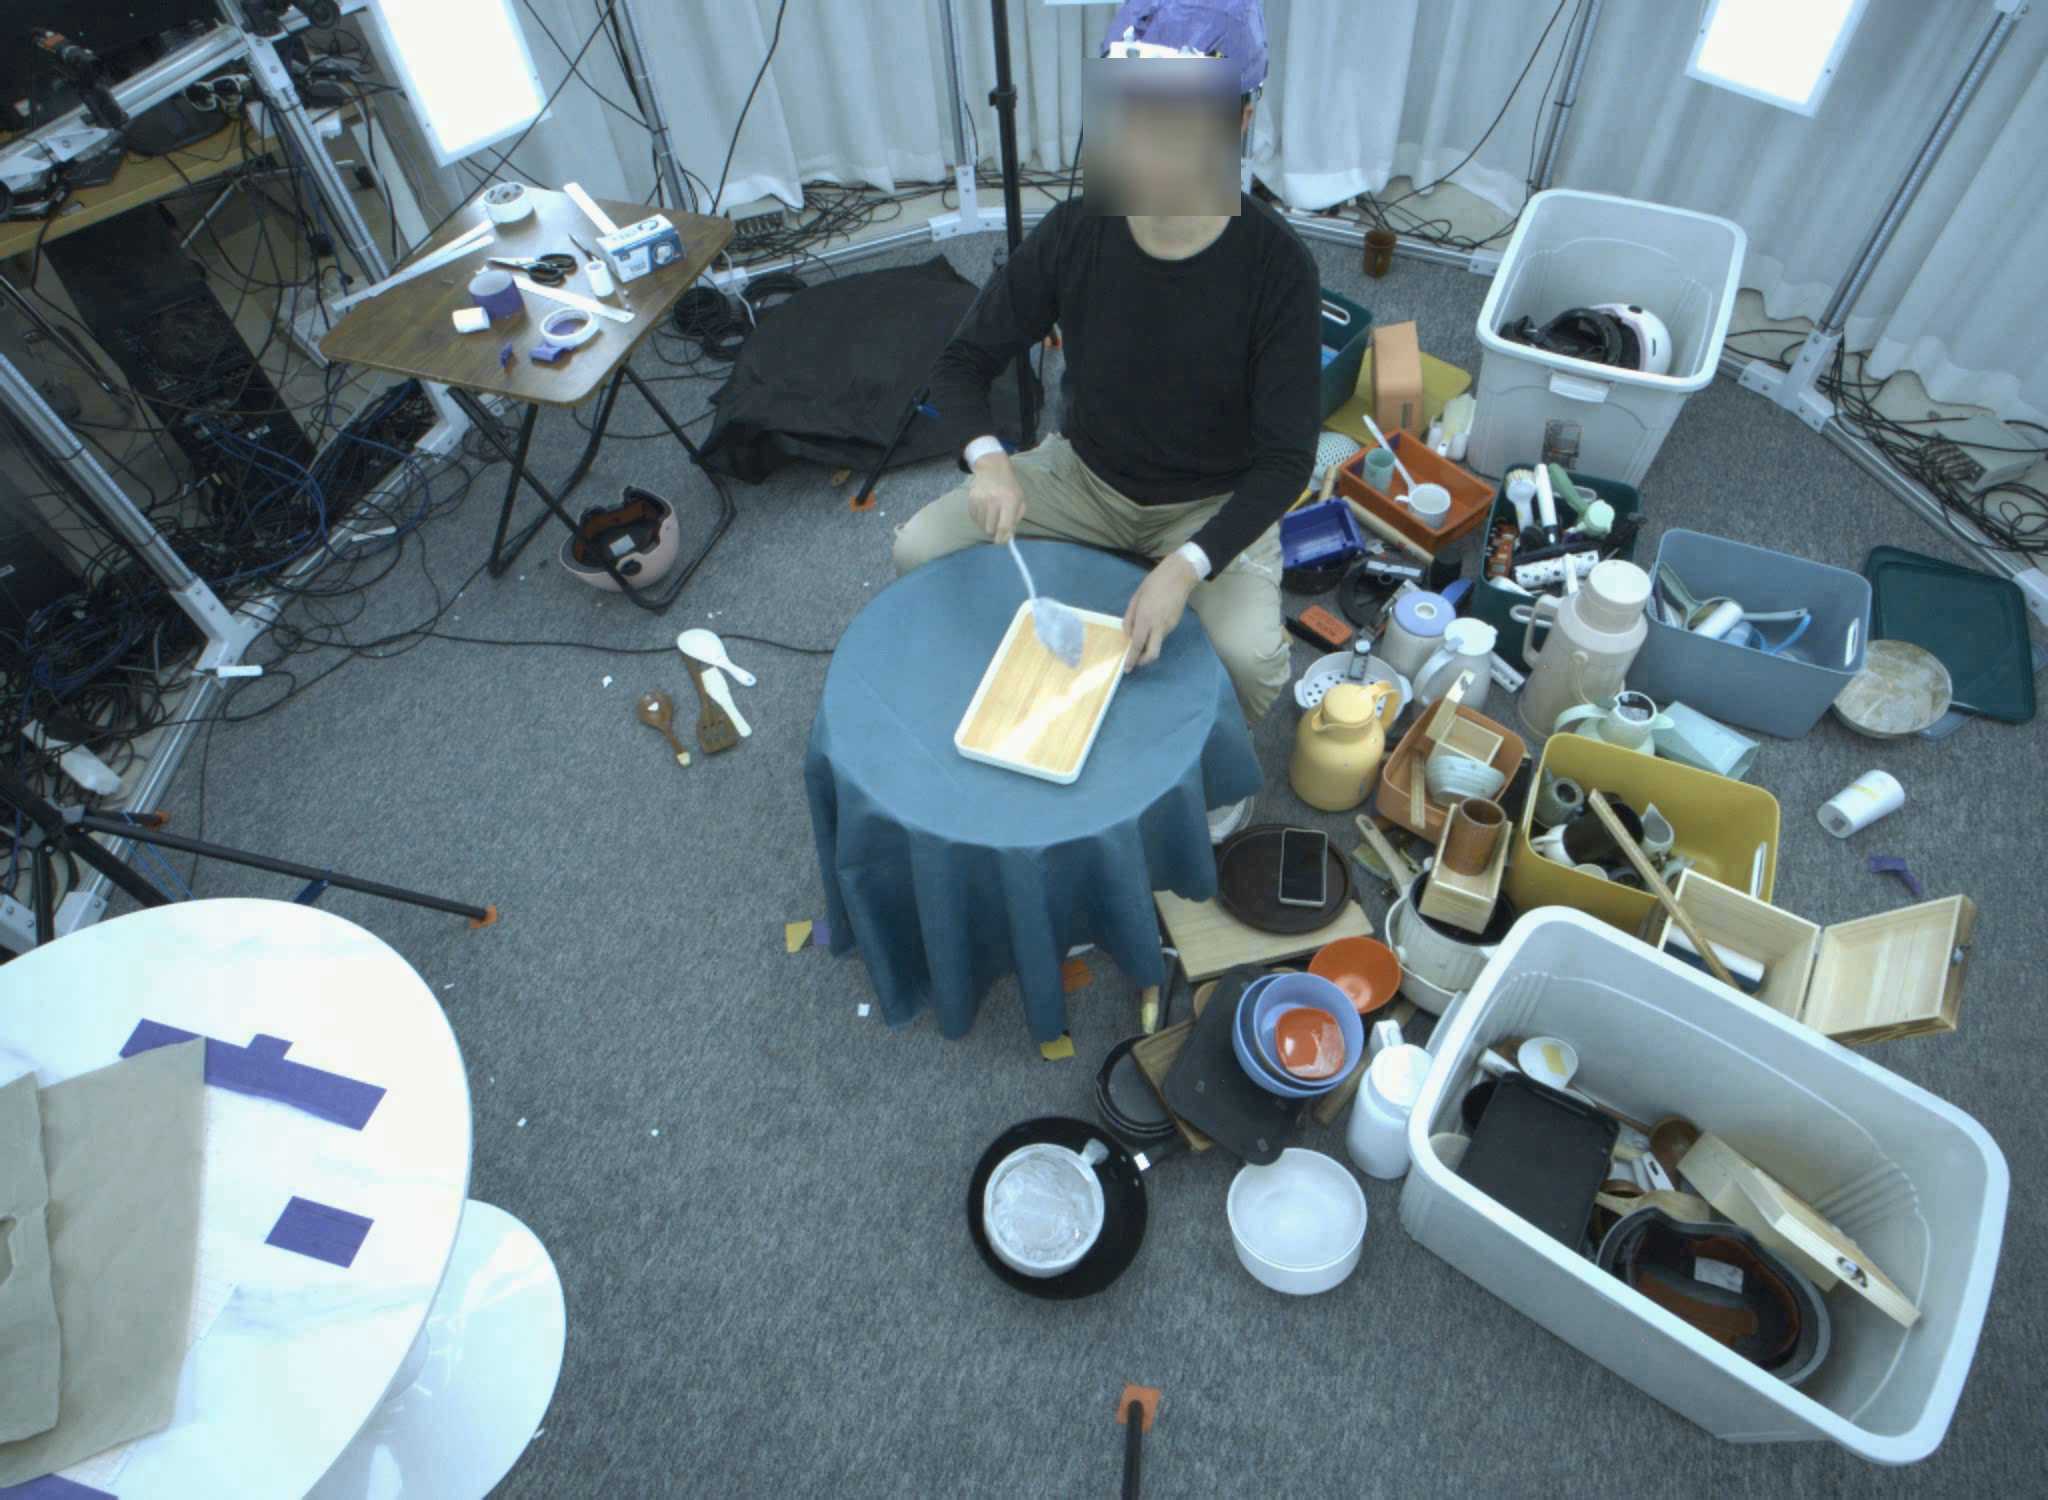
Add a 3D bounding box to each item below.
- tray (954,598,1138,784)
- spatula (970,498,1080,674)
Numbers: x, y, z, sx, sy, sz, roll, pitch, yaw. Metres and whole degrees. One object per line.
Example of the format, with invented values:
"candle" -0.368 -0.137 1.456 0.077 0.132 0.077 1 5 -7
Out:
"tray" 0.037 -0.094 1.828 0.189 0.028 0.300 16 59 15
"spatula" -0.004 -0.259 1.777 0.045 0.099 0.358 -11 54 -17
